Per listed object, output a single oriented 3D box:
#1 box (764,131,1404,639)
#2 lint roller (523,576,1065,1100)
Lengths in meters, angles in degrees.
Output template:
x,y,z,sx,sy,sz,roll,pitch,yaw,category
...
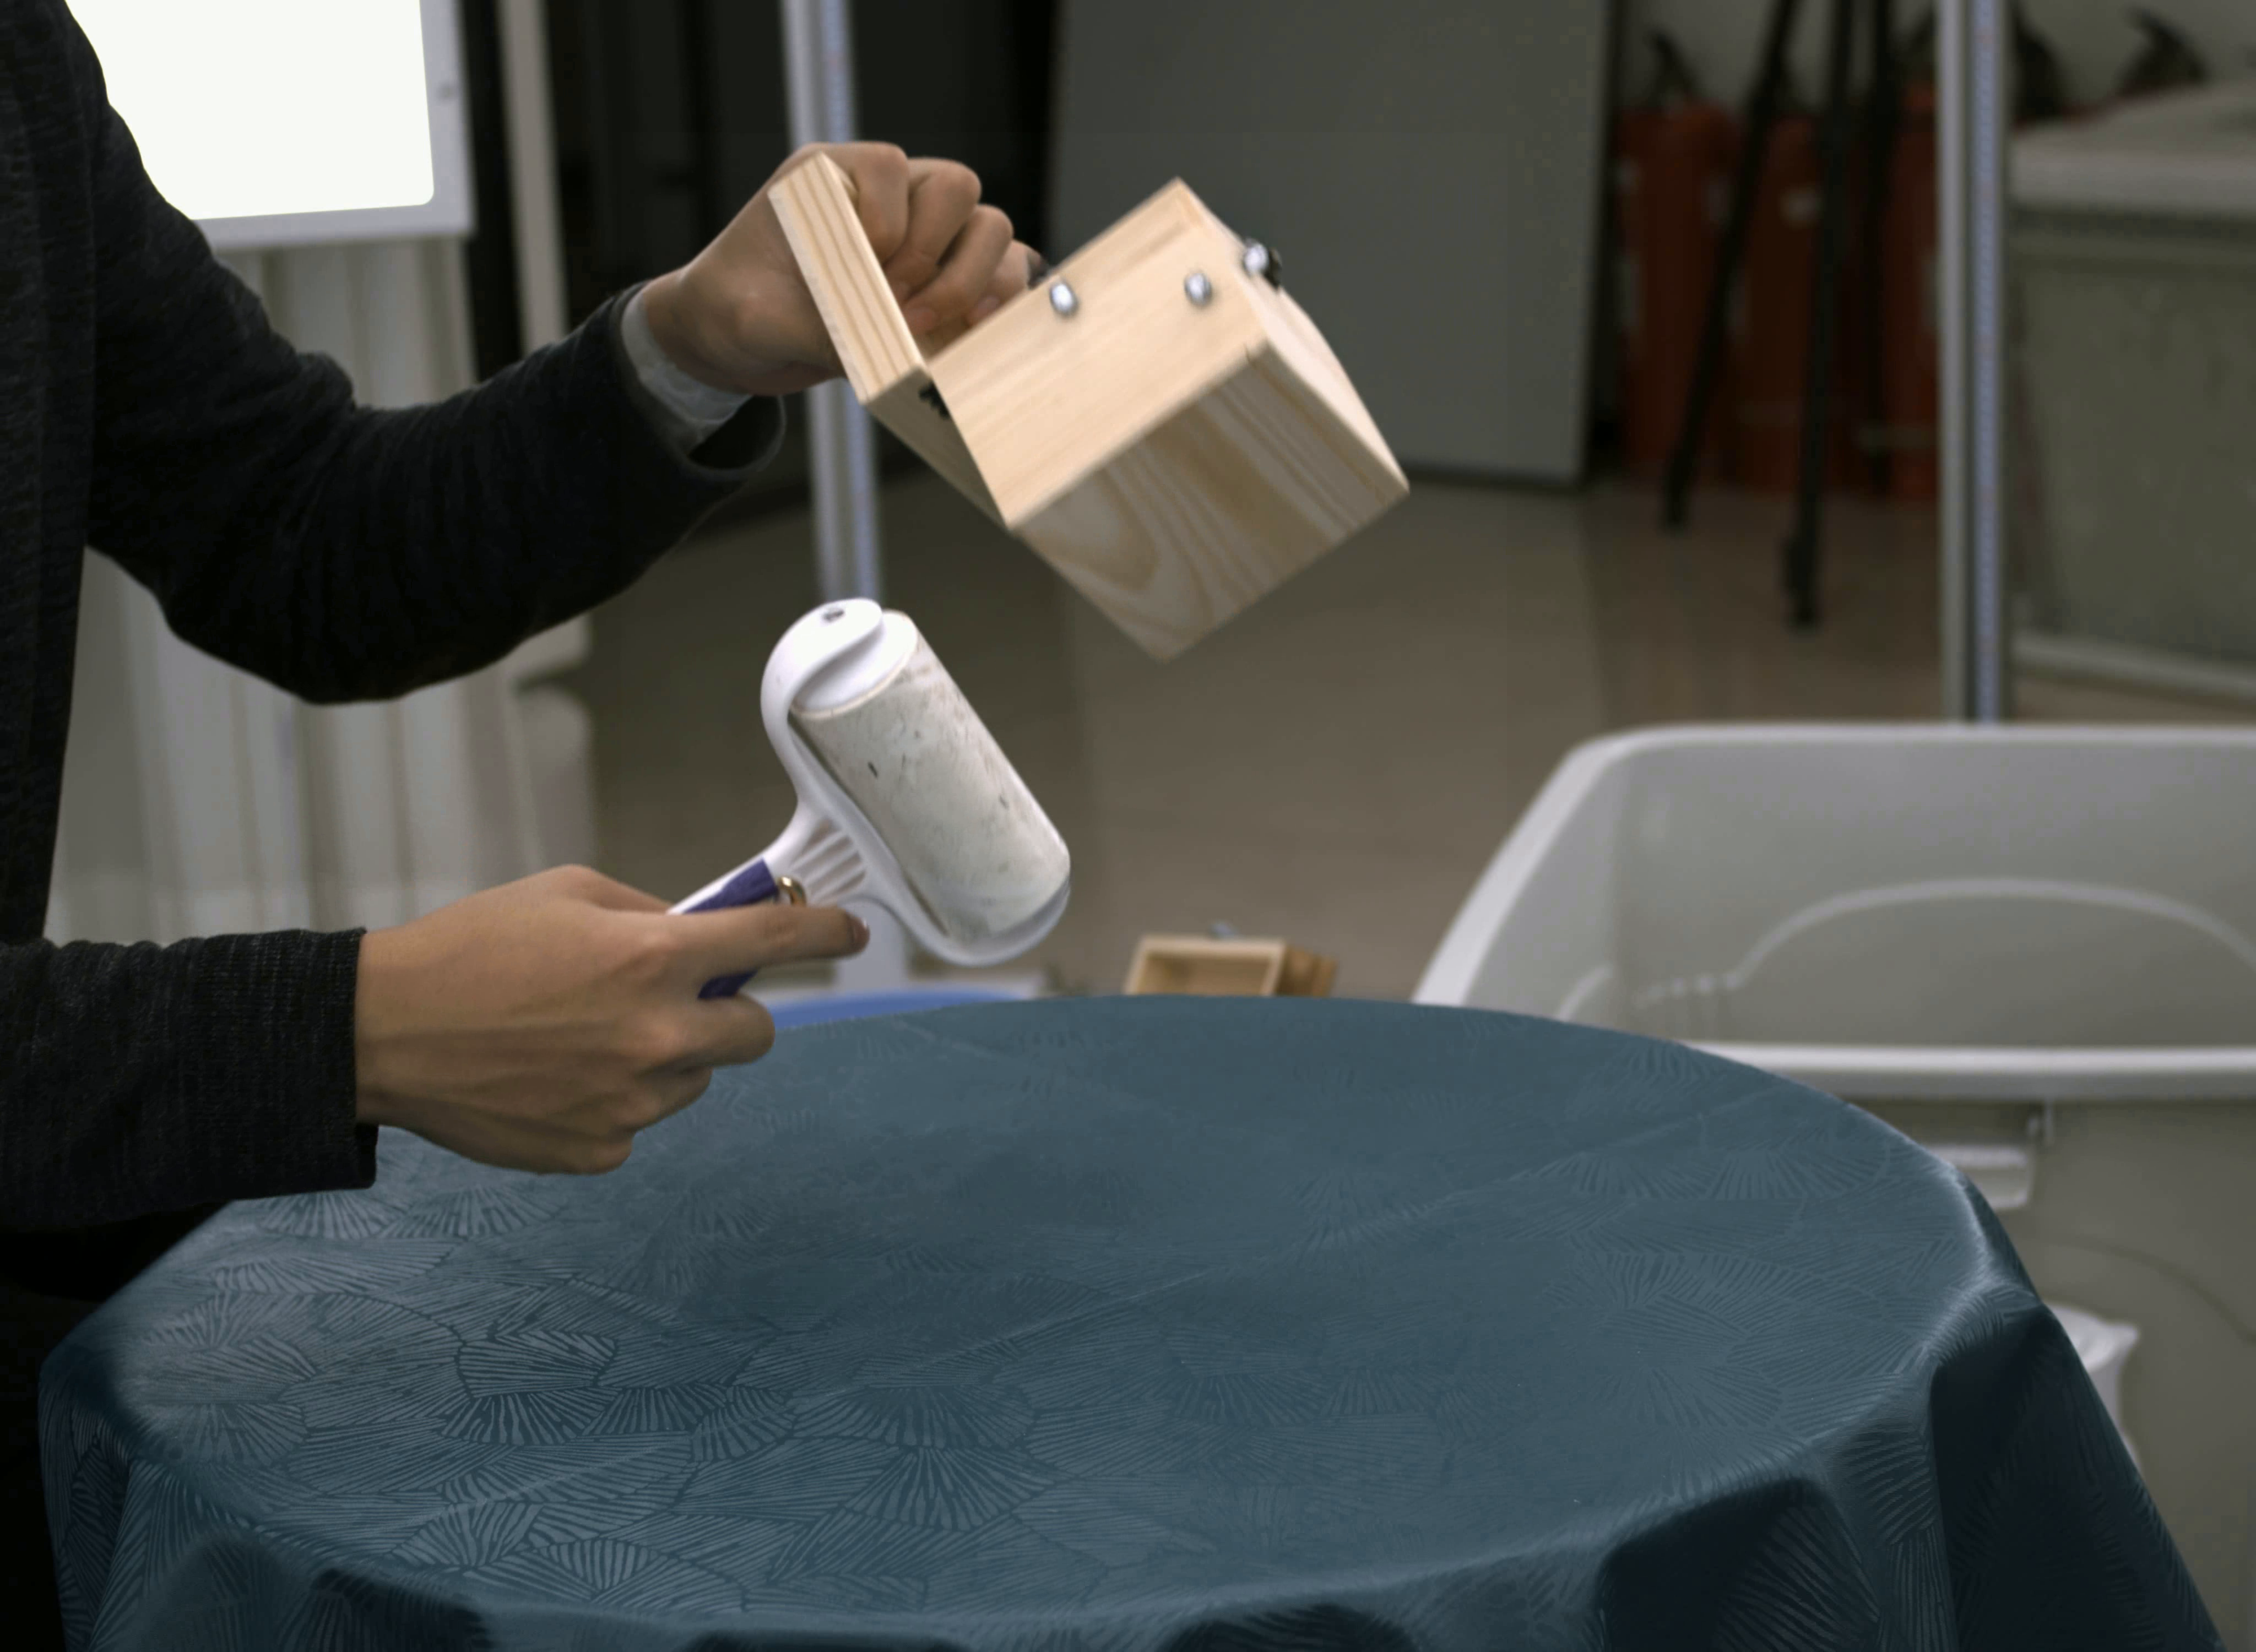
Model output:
x,y,z,sx,sy,sz,roll,pitch,yaw,category
-0.015,-0.168,1.742,0.134,0.101,0.187,-37,50,11,box
-0.109,0.022,1.639,0.180,0.132,0.051,-43,35,-14,lint roller
